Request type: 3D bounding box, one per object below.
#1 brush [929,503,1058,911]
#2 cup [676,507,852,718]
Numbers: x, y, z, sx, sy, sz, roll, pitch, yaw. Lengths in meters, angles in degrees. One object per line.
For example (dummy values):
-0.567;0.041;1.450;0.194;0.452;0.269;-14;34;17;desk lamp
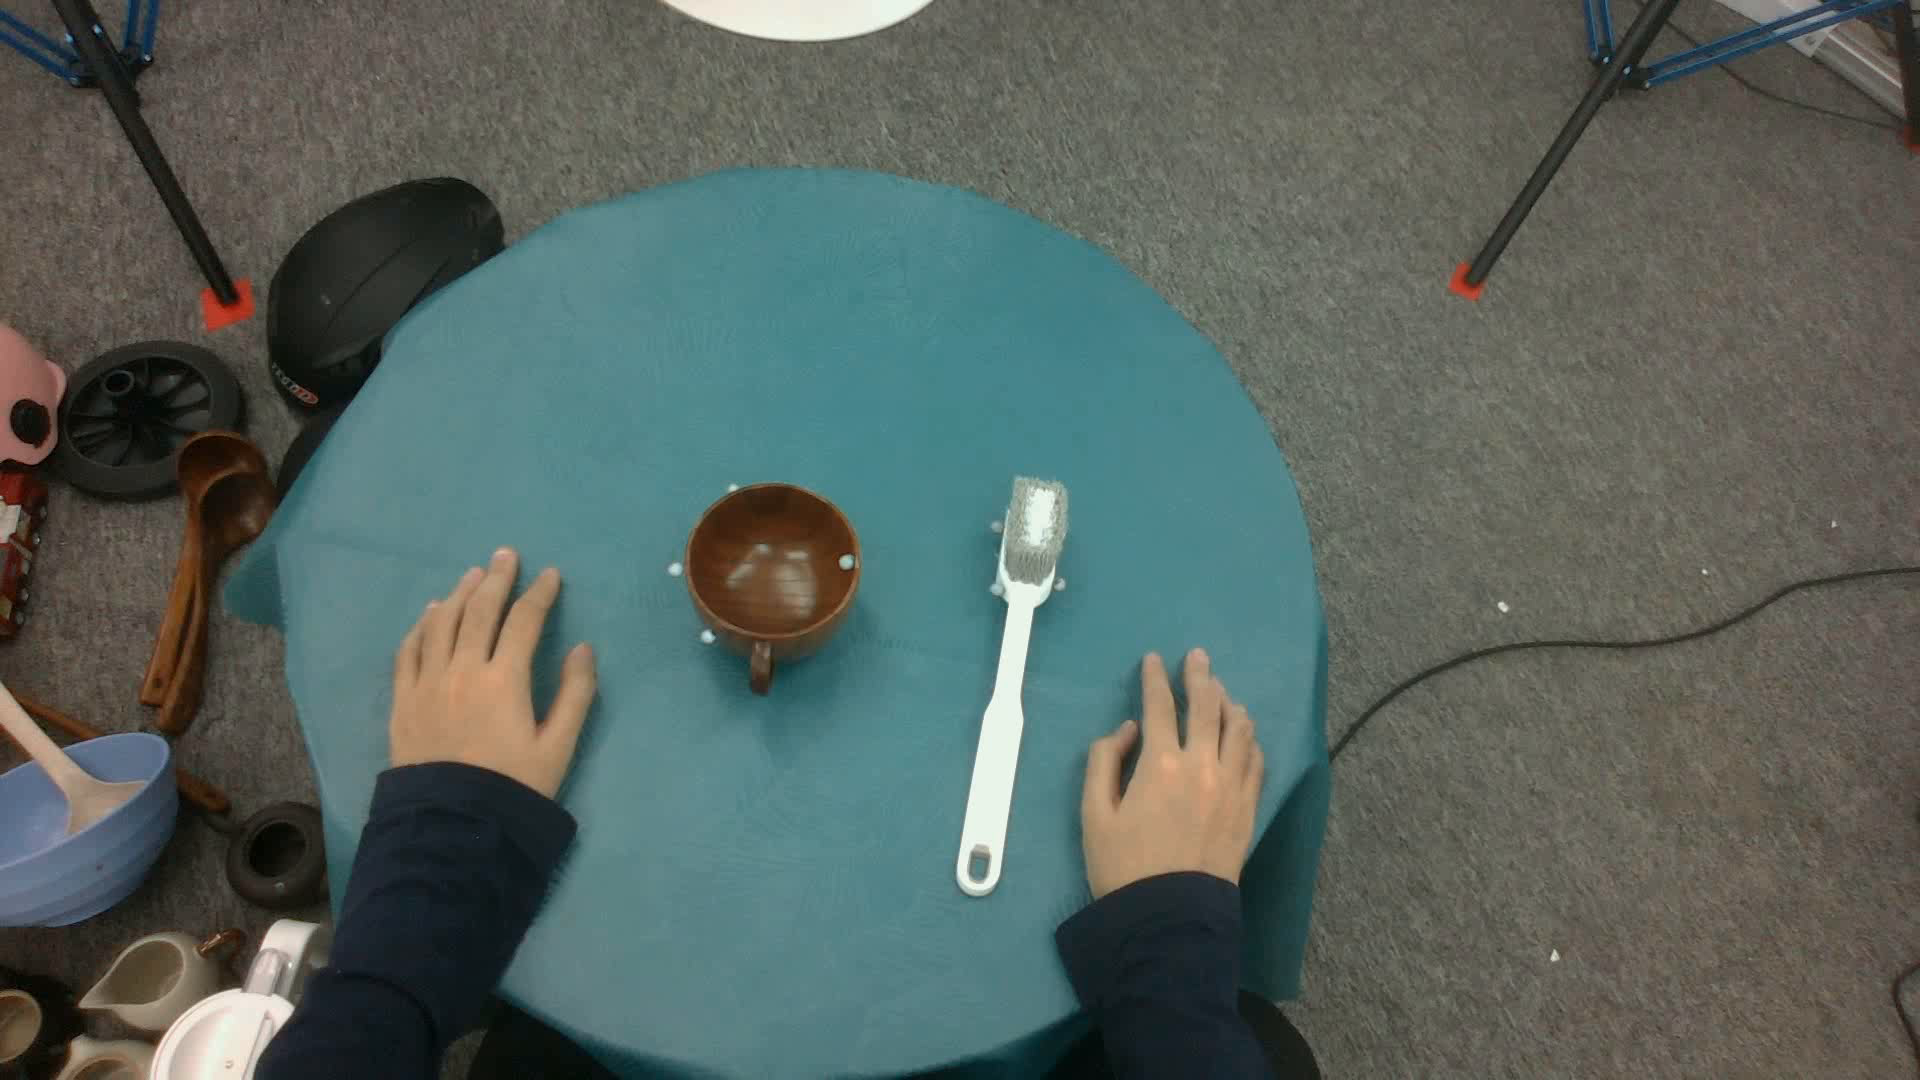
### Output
0.020;0.085;0.777;0.034;0.050;0.245;15;59;-3;brush
-0.111;0.048;0.768;0.096;0.067;0.120;4;57;-7;cup
